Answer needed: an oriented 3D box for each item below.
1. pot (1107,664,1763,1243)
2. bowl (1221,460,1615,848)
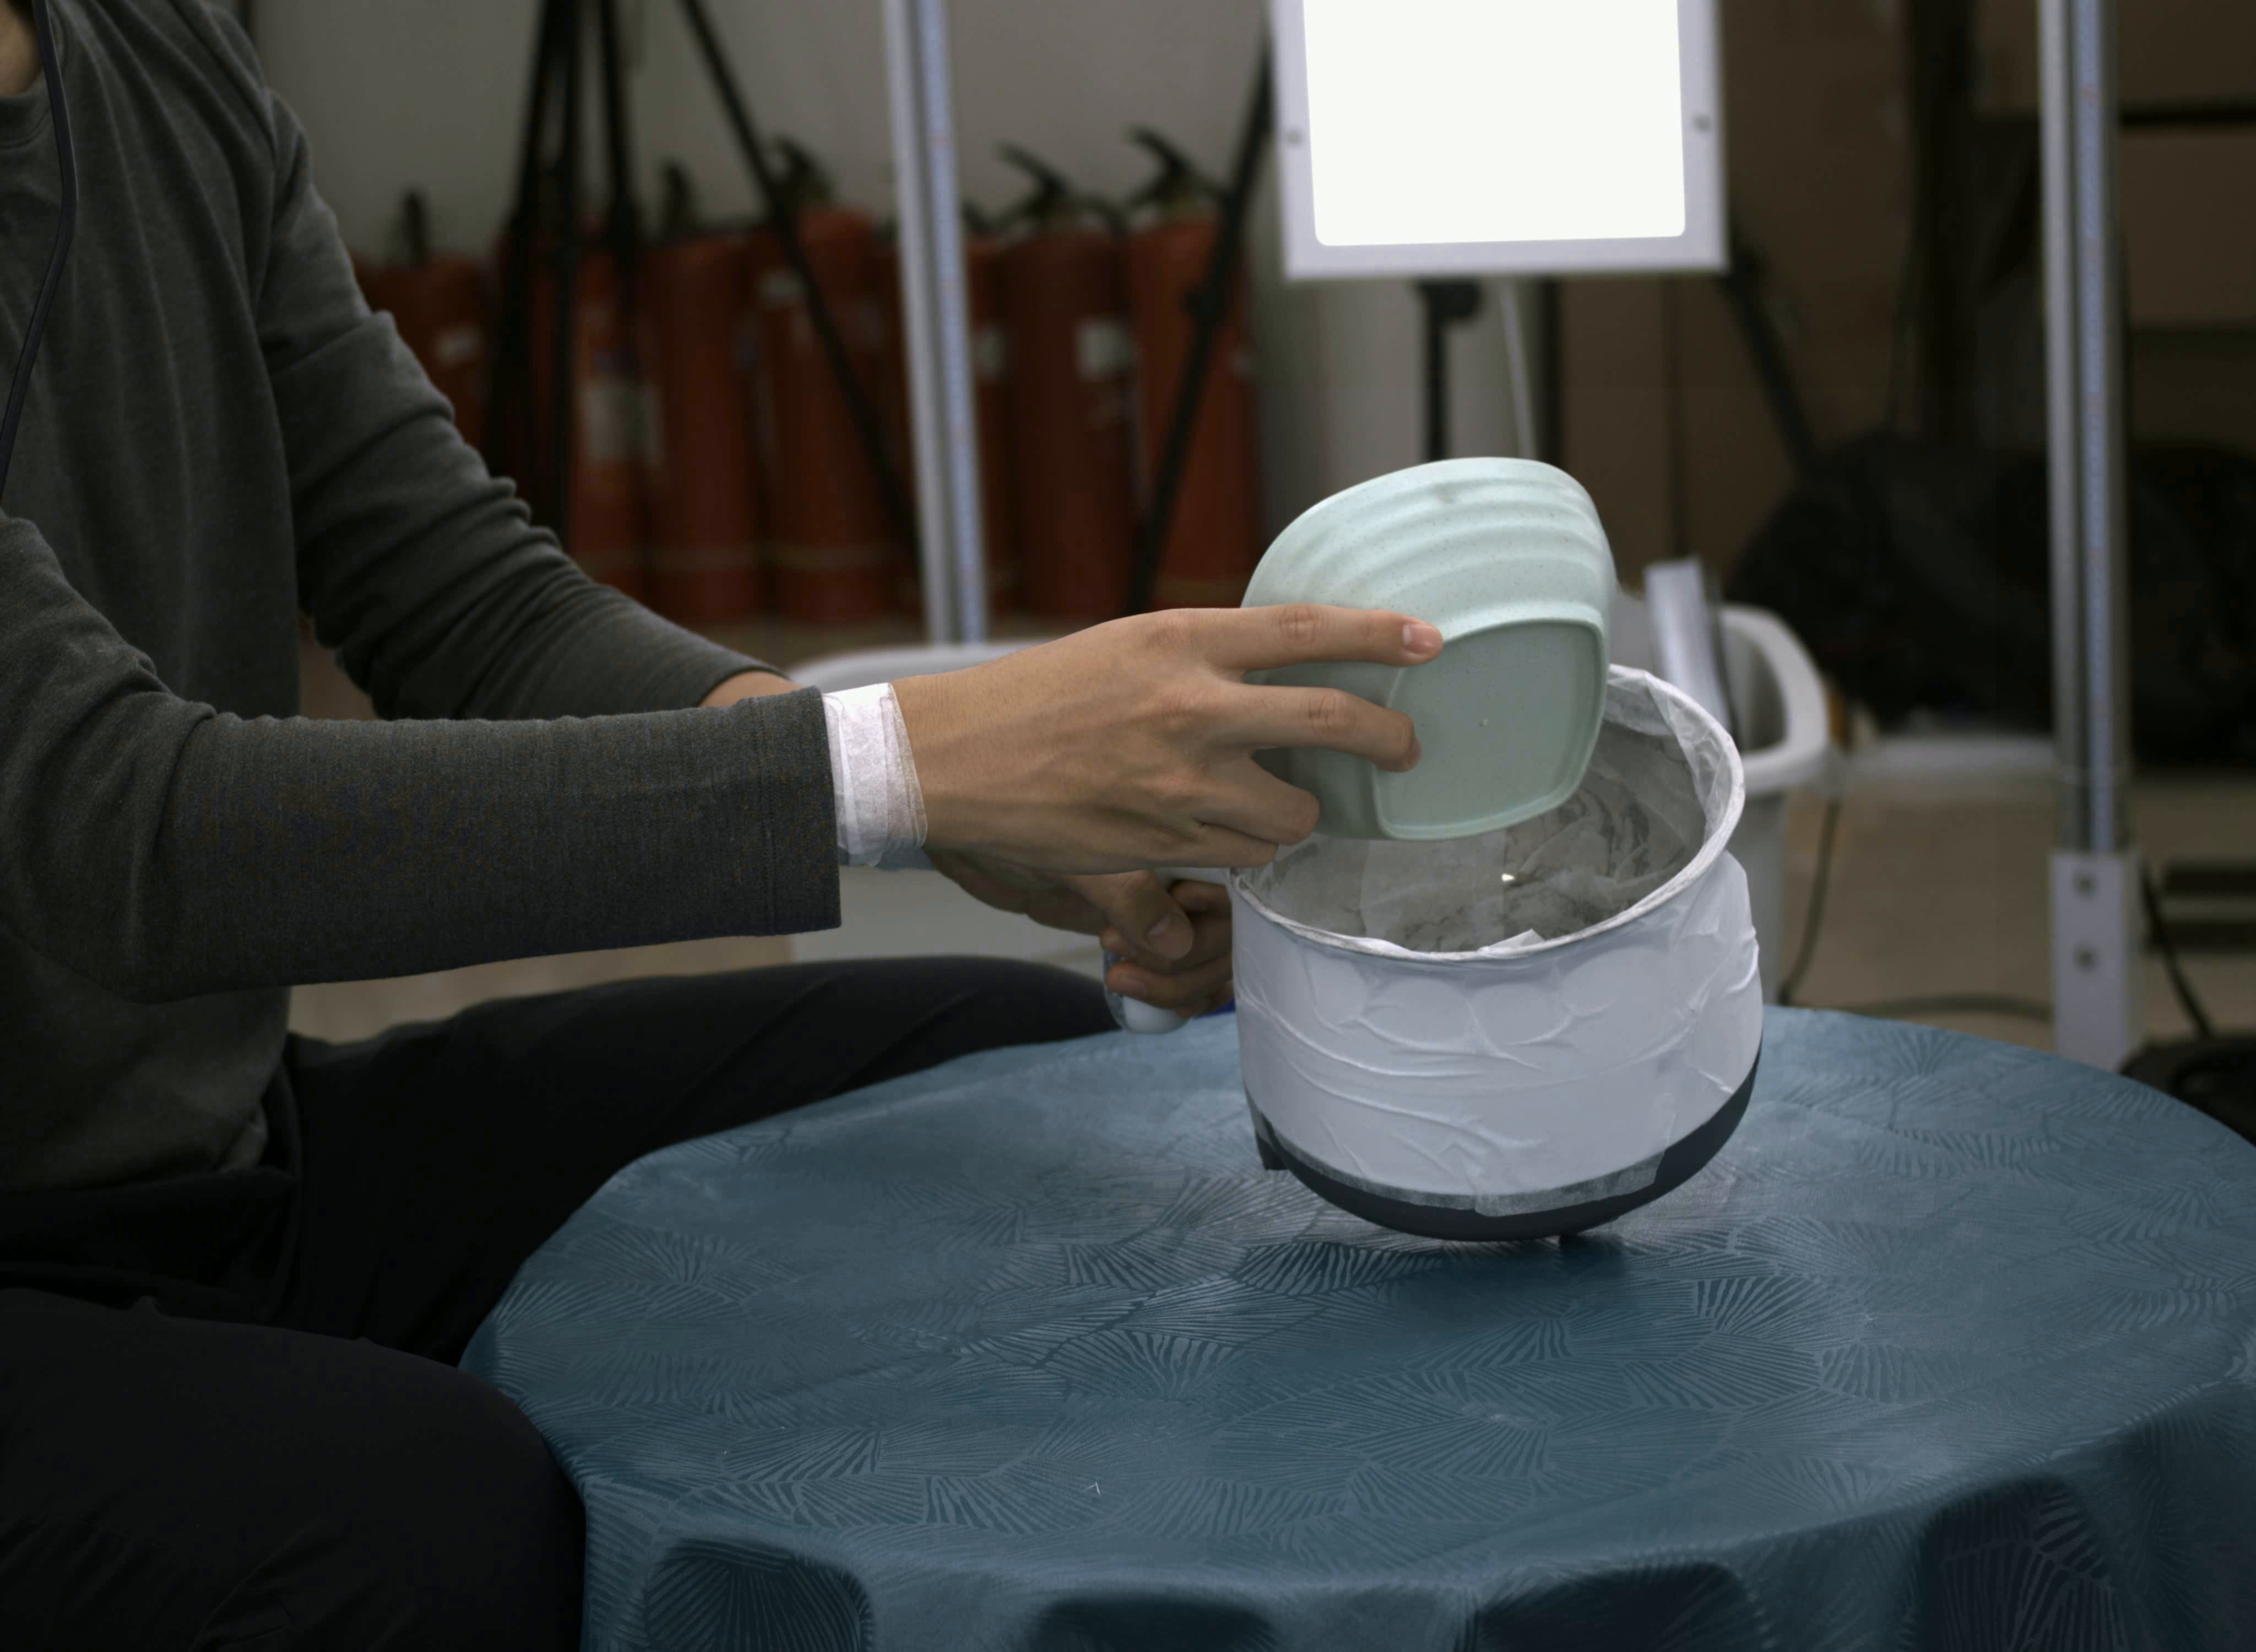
[{"bbox_3d":[0.097,0.039,1.847,0.237,0.137,0.175,8,38,25],"label":"pot"},{"bbox_3d":[0.105,-0.045,1.795,0.149,0.152,0.059,-9,38,-19],"label":"bowl"}]
